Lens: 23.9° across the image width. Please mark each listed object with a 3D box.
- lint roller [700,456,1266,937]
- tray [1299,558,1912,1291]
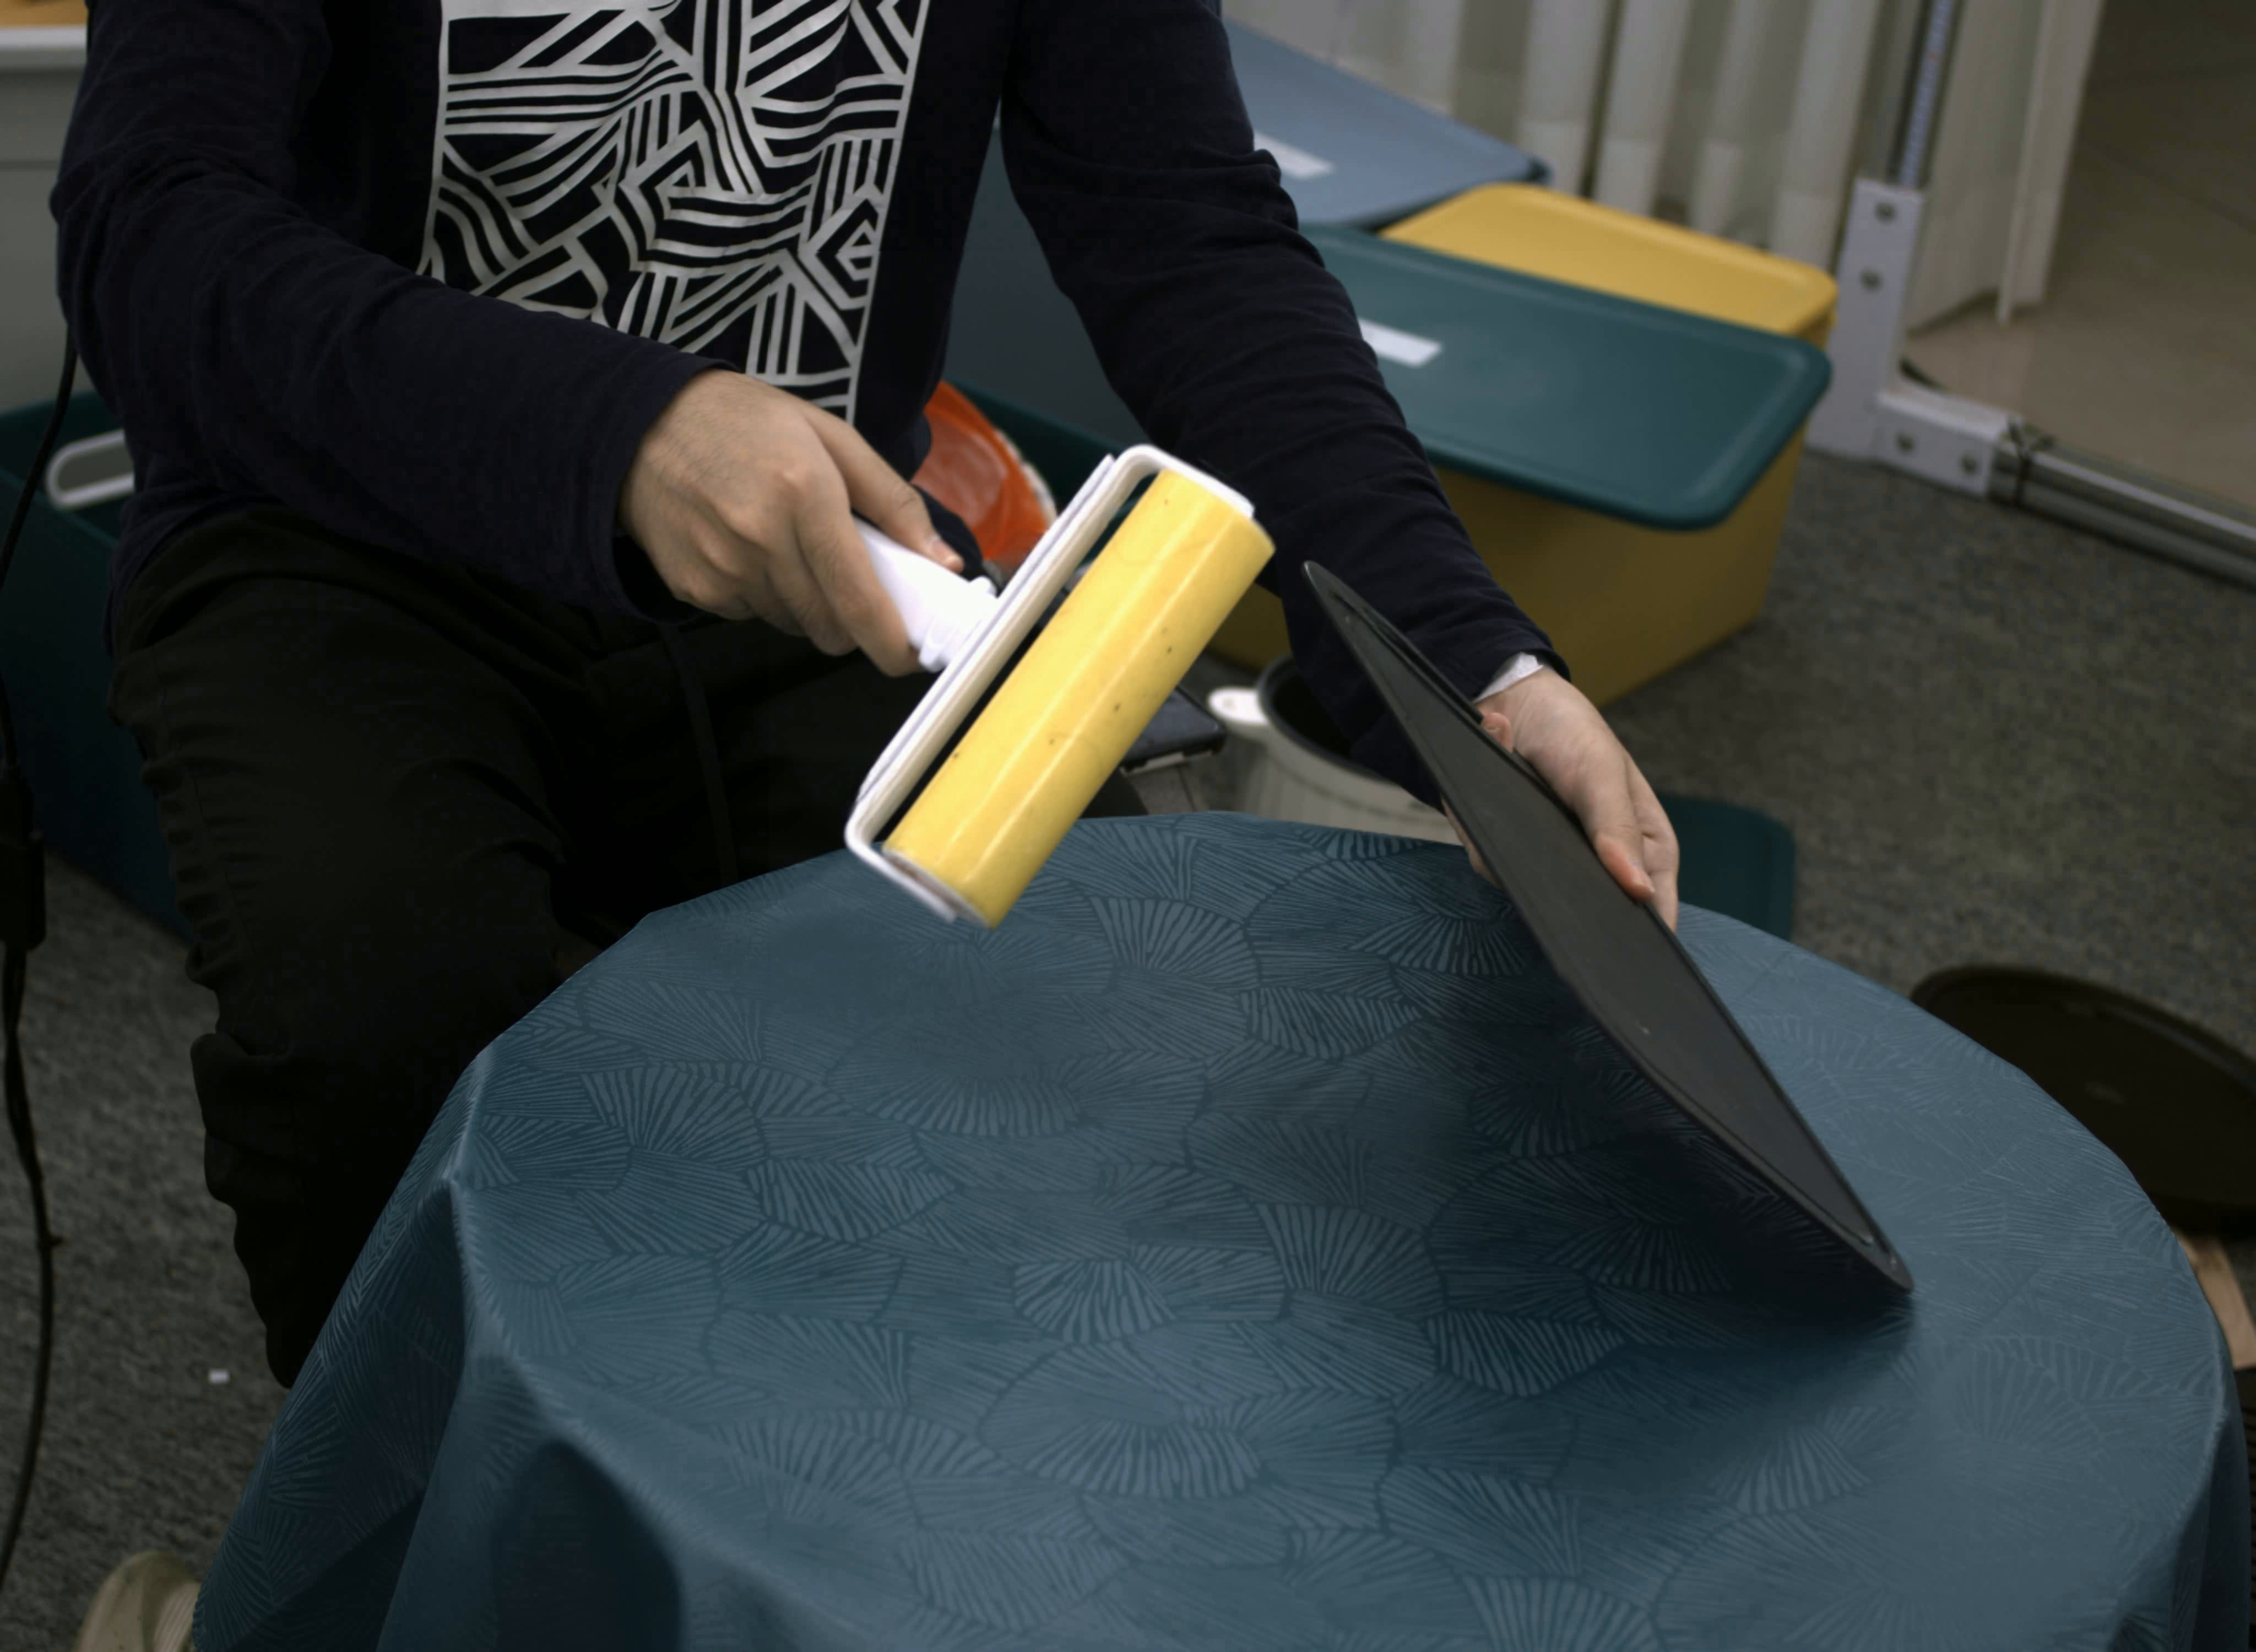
[{"bbox_3d":[-0.075,-0.075,1.815,0.193,0.174,0.051,32,-11,22],"label":"lint roller"},{"bbox_3d":[0.159,0.024,1.839,0.209,0.010,0.328,39,13,-39],"label":"tray"}]
